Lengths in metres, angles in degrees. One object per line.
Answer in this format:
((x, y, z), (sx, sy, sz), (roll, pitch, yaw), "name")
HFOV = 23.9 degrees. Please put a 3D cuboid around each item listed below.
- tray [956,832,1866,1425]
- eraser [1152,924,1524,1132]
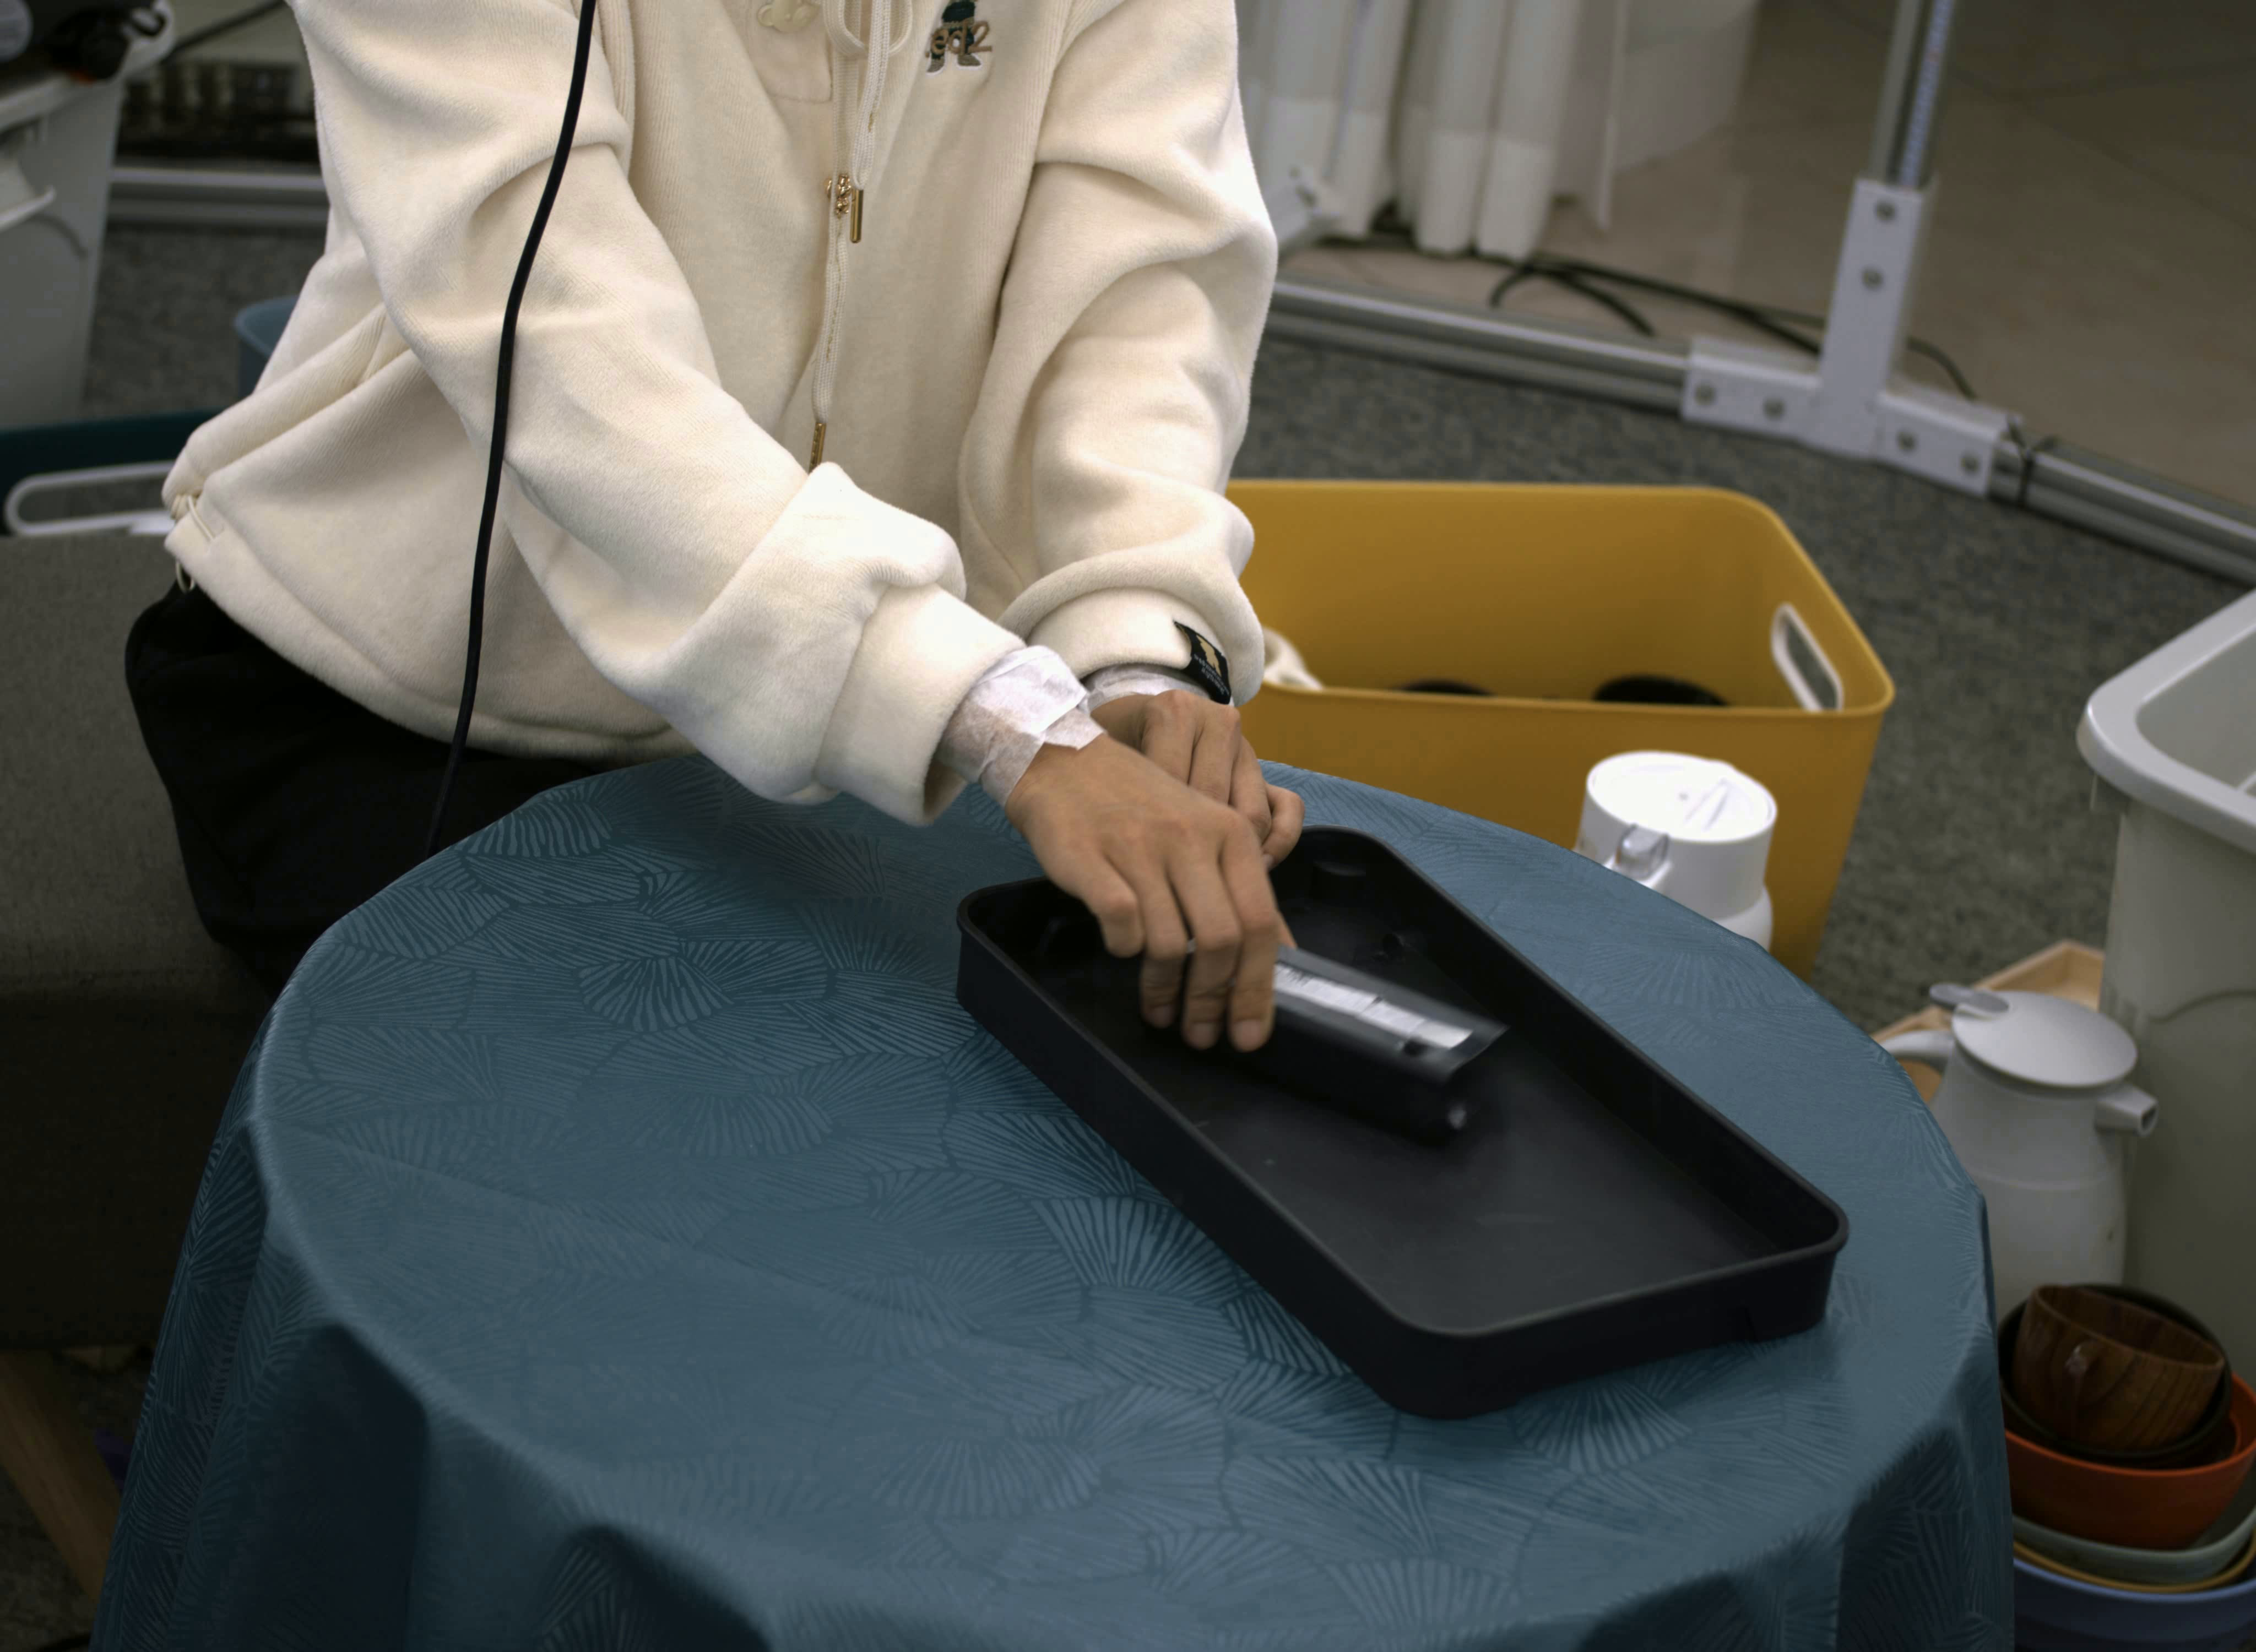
((0.090, 0.097, 1.833), (0.183, 0.037, 0.321), (-11, 31, -31), "tray")
((0.074, 0.071, 1.882), (0.126, 0.030, 0.053), (19, 23, 23), "eraser")
